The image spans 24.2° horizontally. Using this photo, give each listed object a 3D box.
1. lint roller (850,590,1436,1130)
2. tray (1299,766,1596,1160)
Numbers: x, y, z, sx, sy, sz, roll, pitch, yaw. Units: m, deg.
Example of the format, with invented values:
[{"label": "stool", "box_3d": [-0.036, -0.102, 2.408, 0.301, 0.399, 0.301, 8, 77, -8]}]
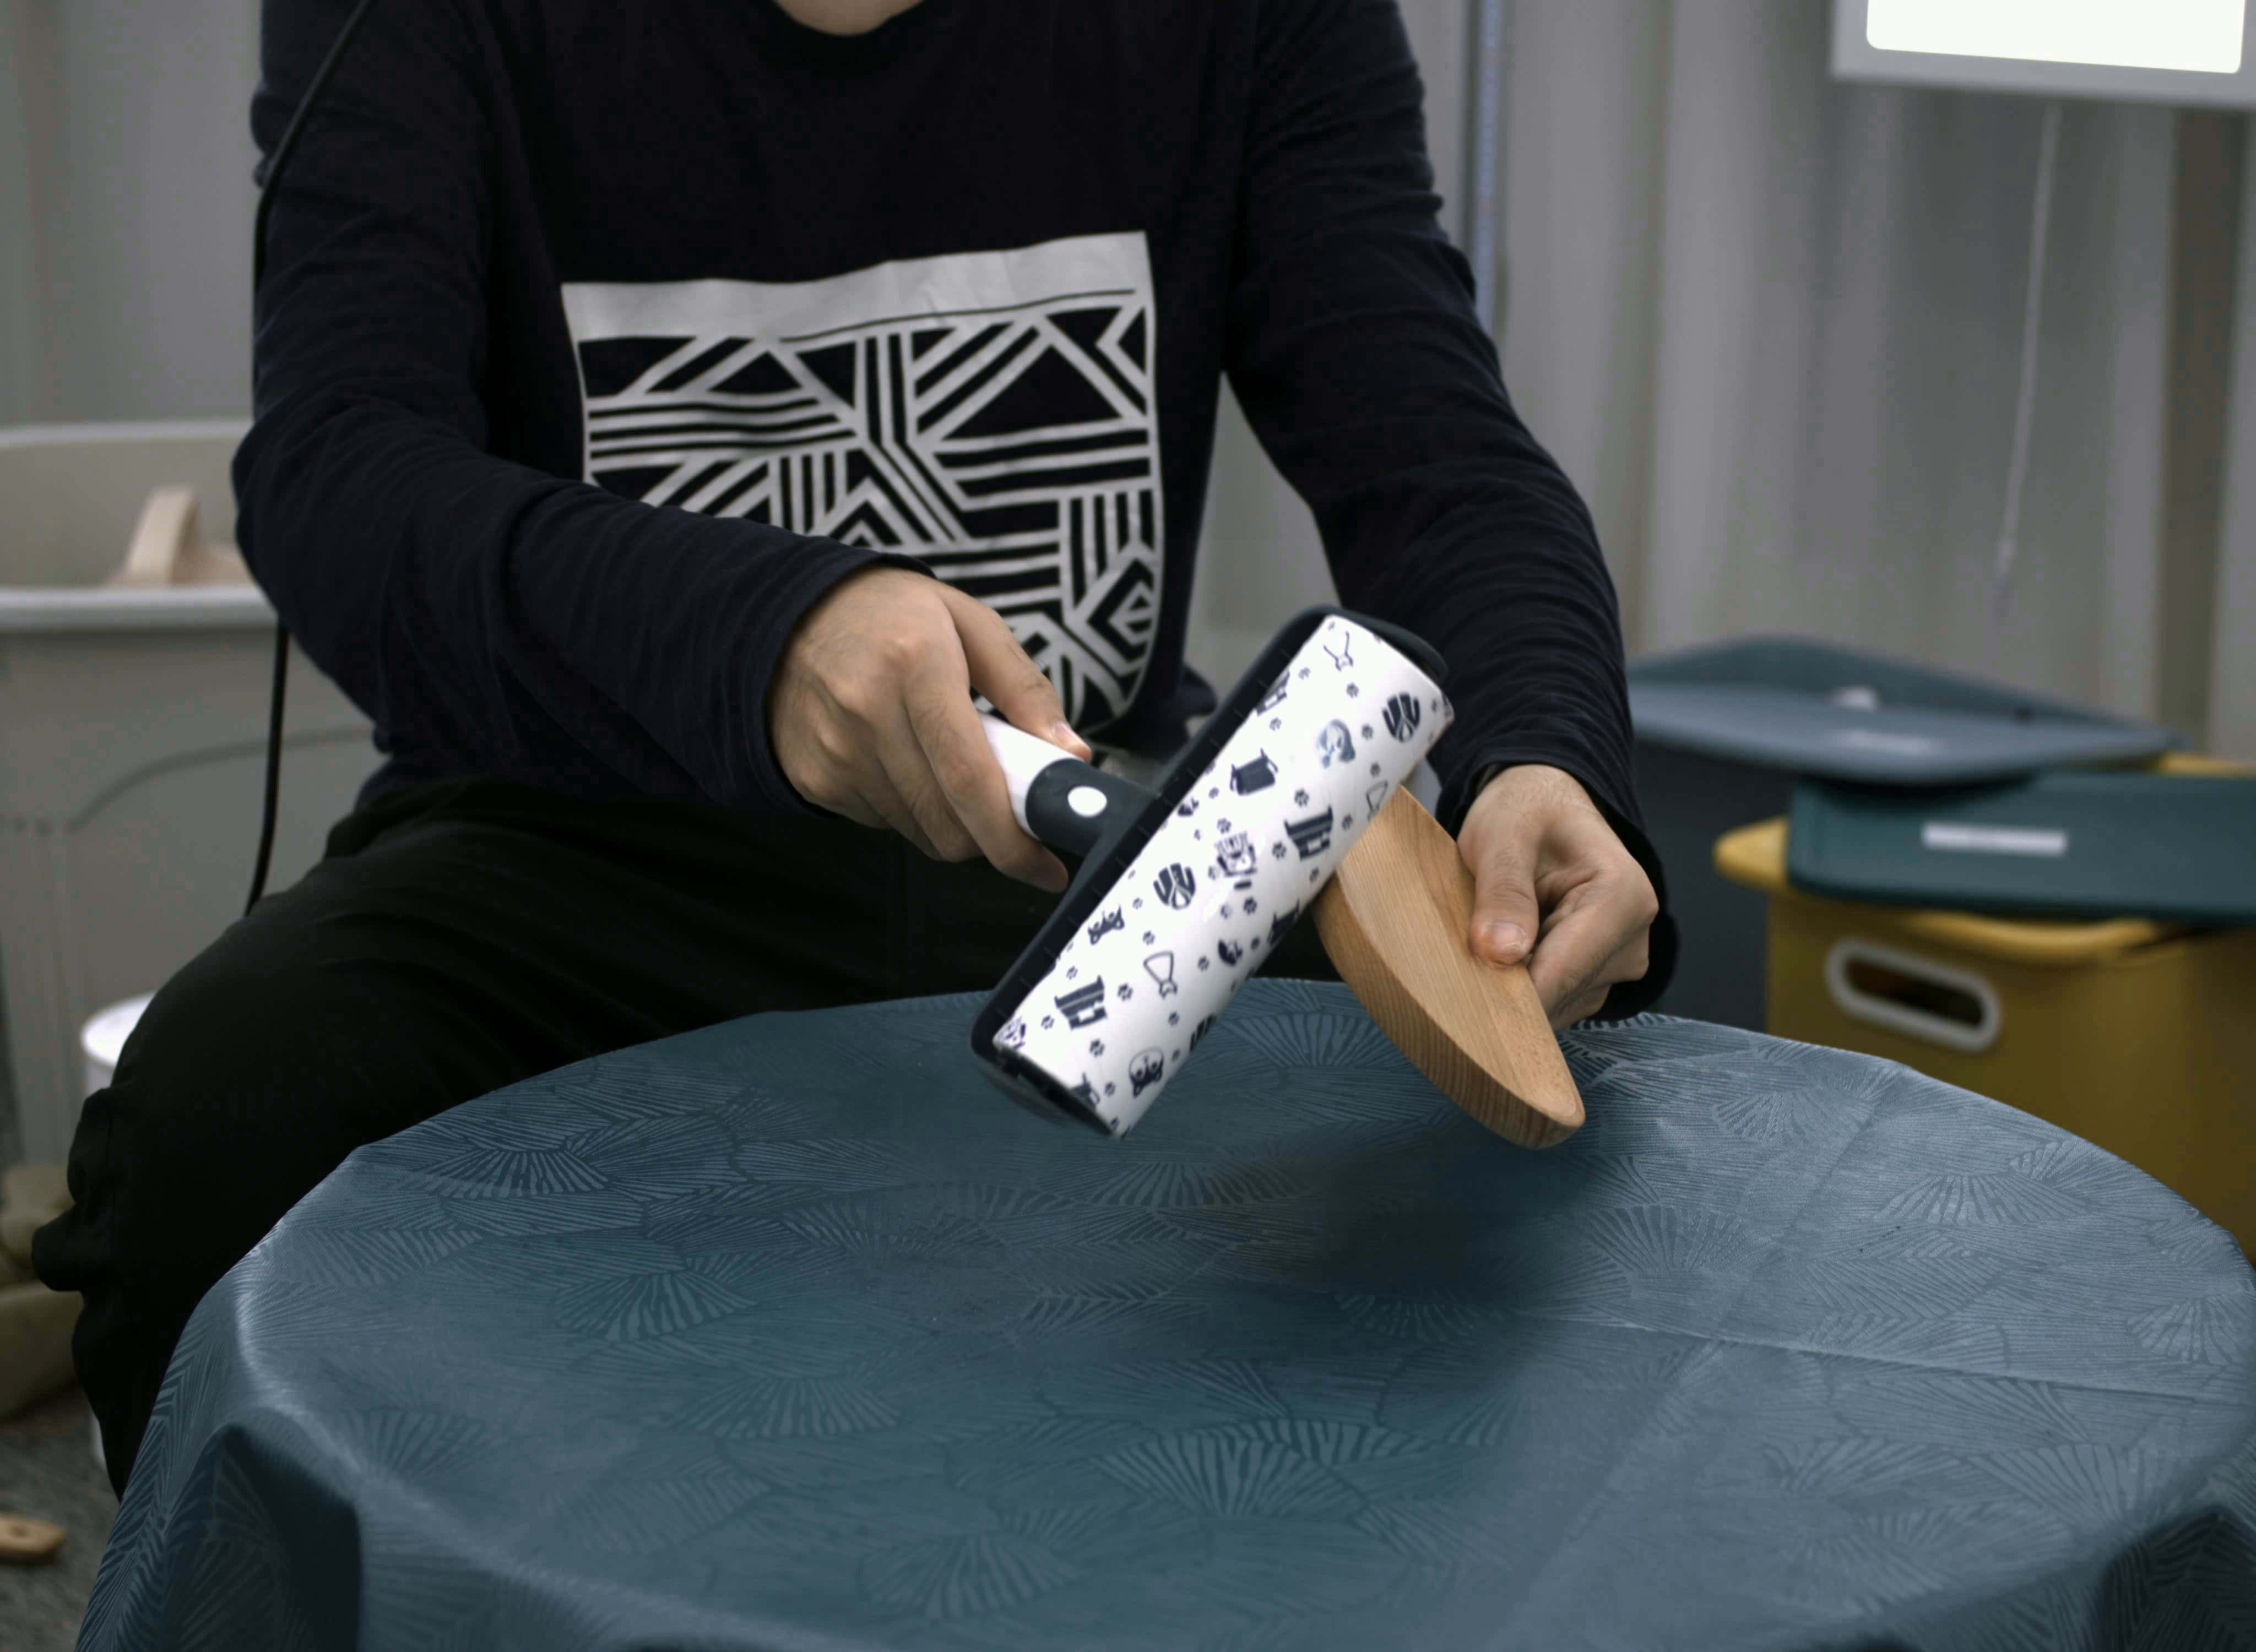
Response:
[{"label": "lint roller", "box_3d": [-0.027, -0.011, 1.604, 0.051, 0.176, 0.244, 43, -11, -34]}, {"label": "tray", "box_3d": [0.087, 0.031, 1.588, 0.102, 0.020, 0.229, 39, 15, -21]}]
